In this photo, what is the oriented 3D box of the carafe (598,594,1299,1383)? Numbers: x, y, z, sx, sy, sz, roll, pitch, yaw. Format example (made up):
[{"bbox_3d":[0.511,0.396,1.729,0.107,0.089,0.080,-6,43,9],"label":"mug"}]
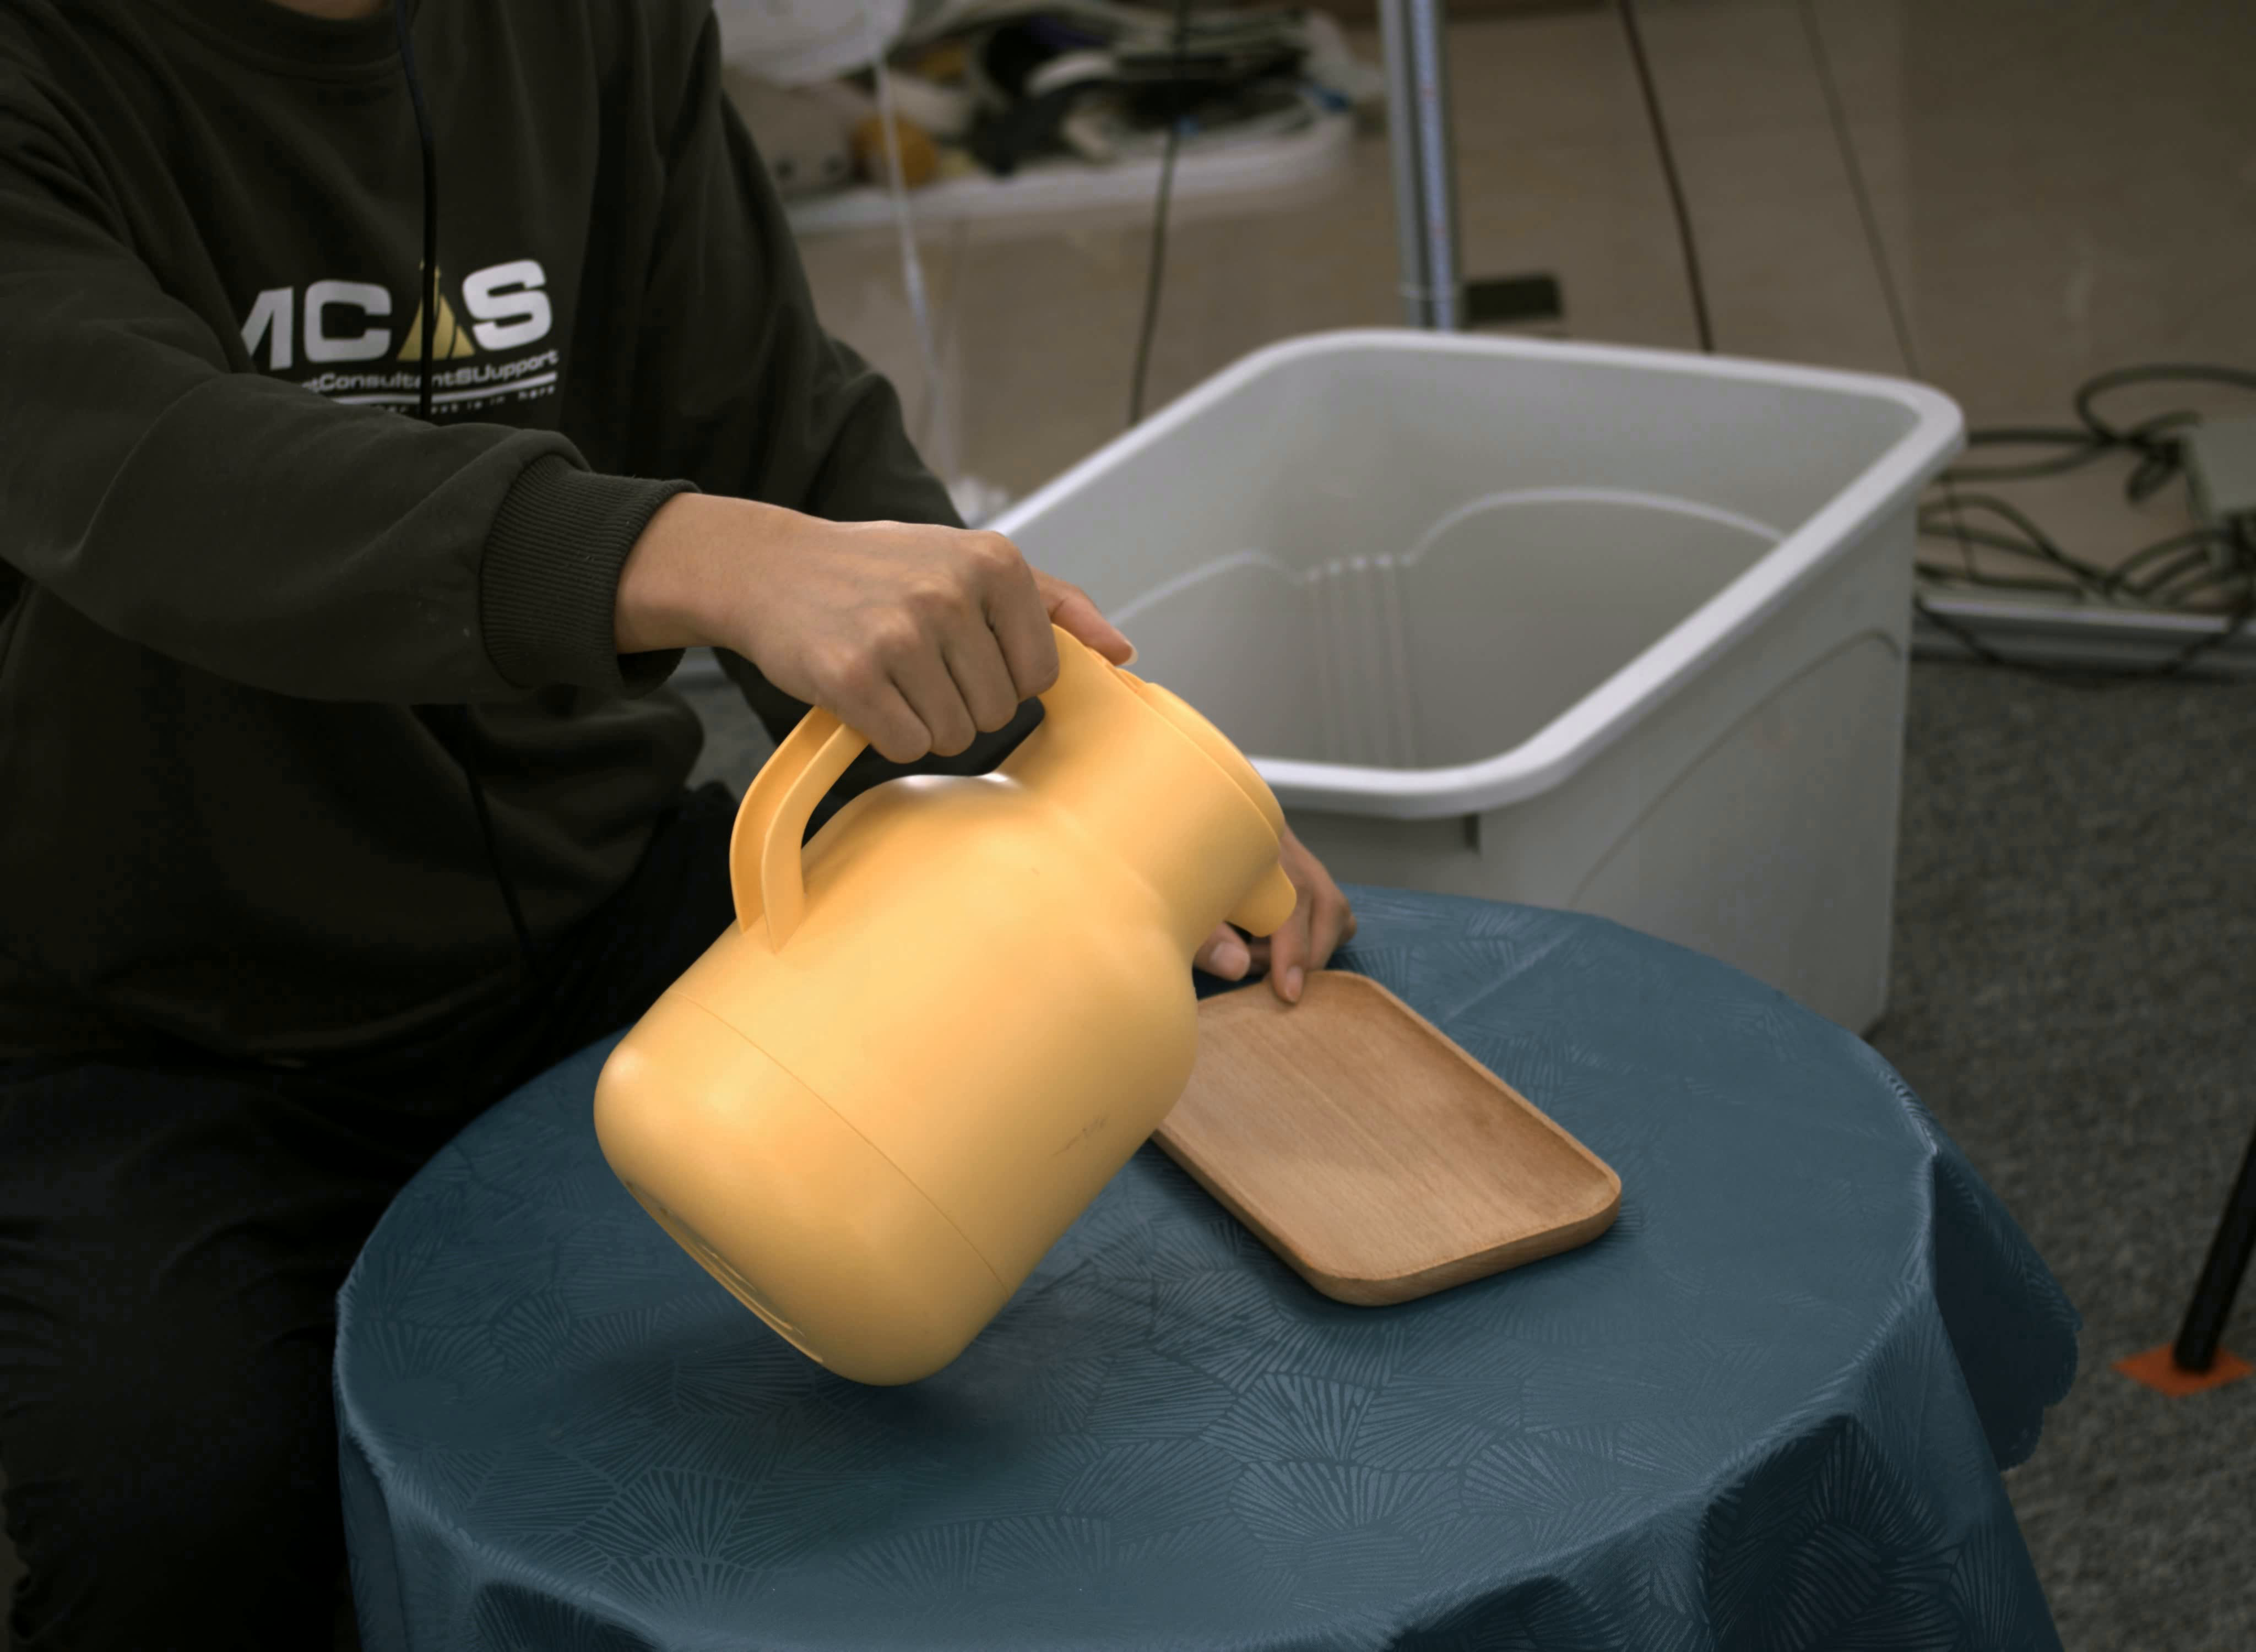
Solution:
[{"bbox_3d":[-0.067,0.048,2.001,0.259,0.205,0.162,-48,31,-13],"label":"carafe"}]

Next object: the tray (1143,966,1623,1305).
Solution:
[{"bbox_3d":[0.083,0.115,2.158,0.130,0.023,0.248,-13,24,-20],"label":"tray"}]
